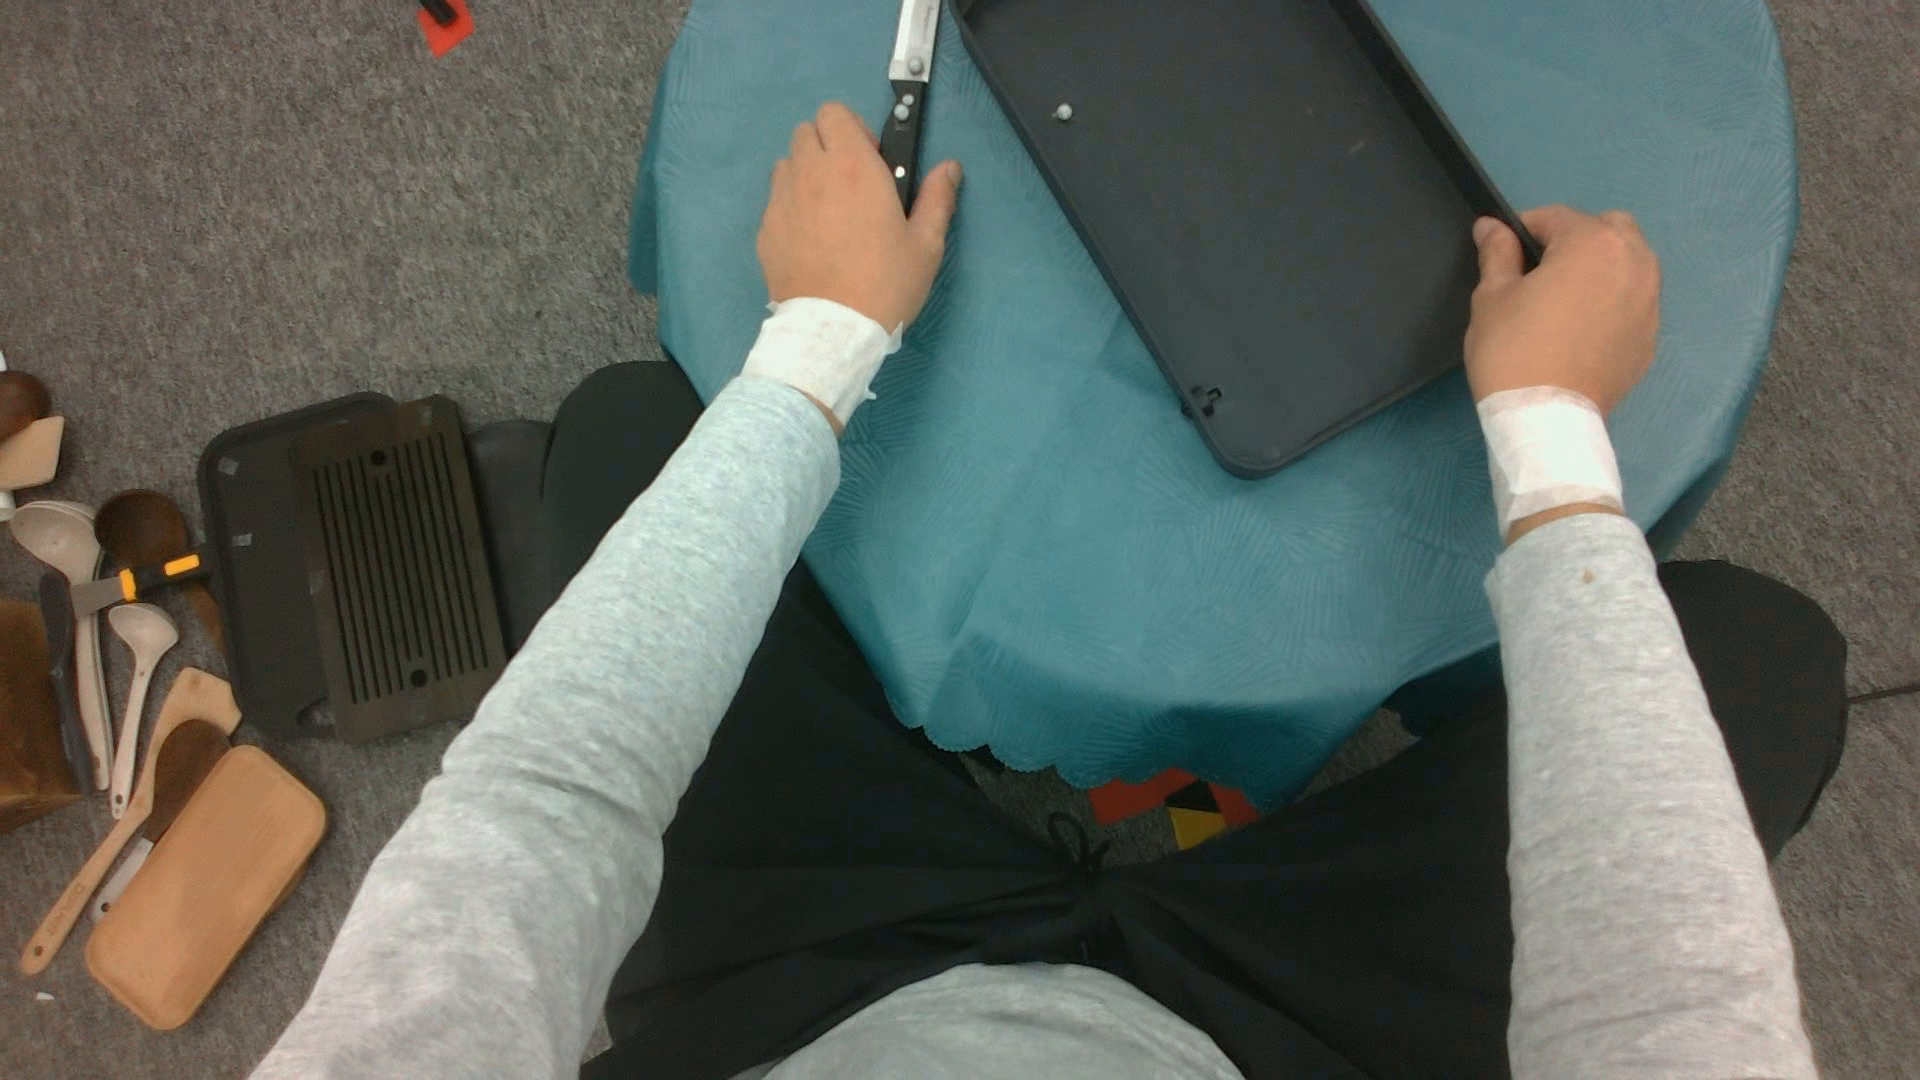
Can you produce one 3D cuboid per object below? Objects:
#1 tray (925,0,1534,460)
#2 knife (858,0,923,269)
[{"bbox_3d":[0.132,-0.212,0.716,0.184,0.037,0.318,-31,79,0],"label":"tray"},{"bbox_3d":[-0.034,-0.261,0.753,0.024,0.016,0.238,3,78,10],"label":"knife"}]
